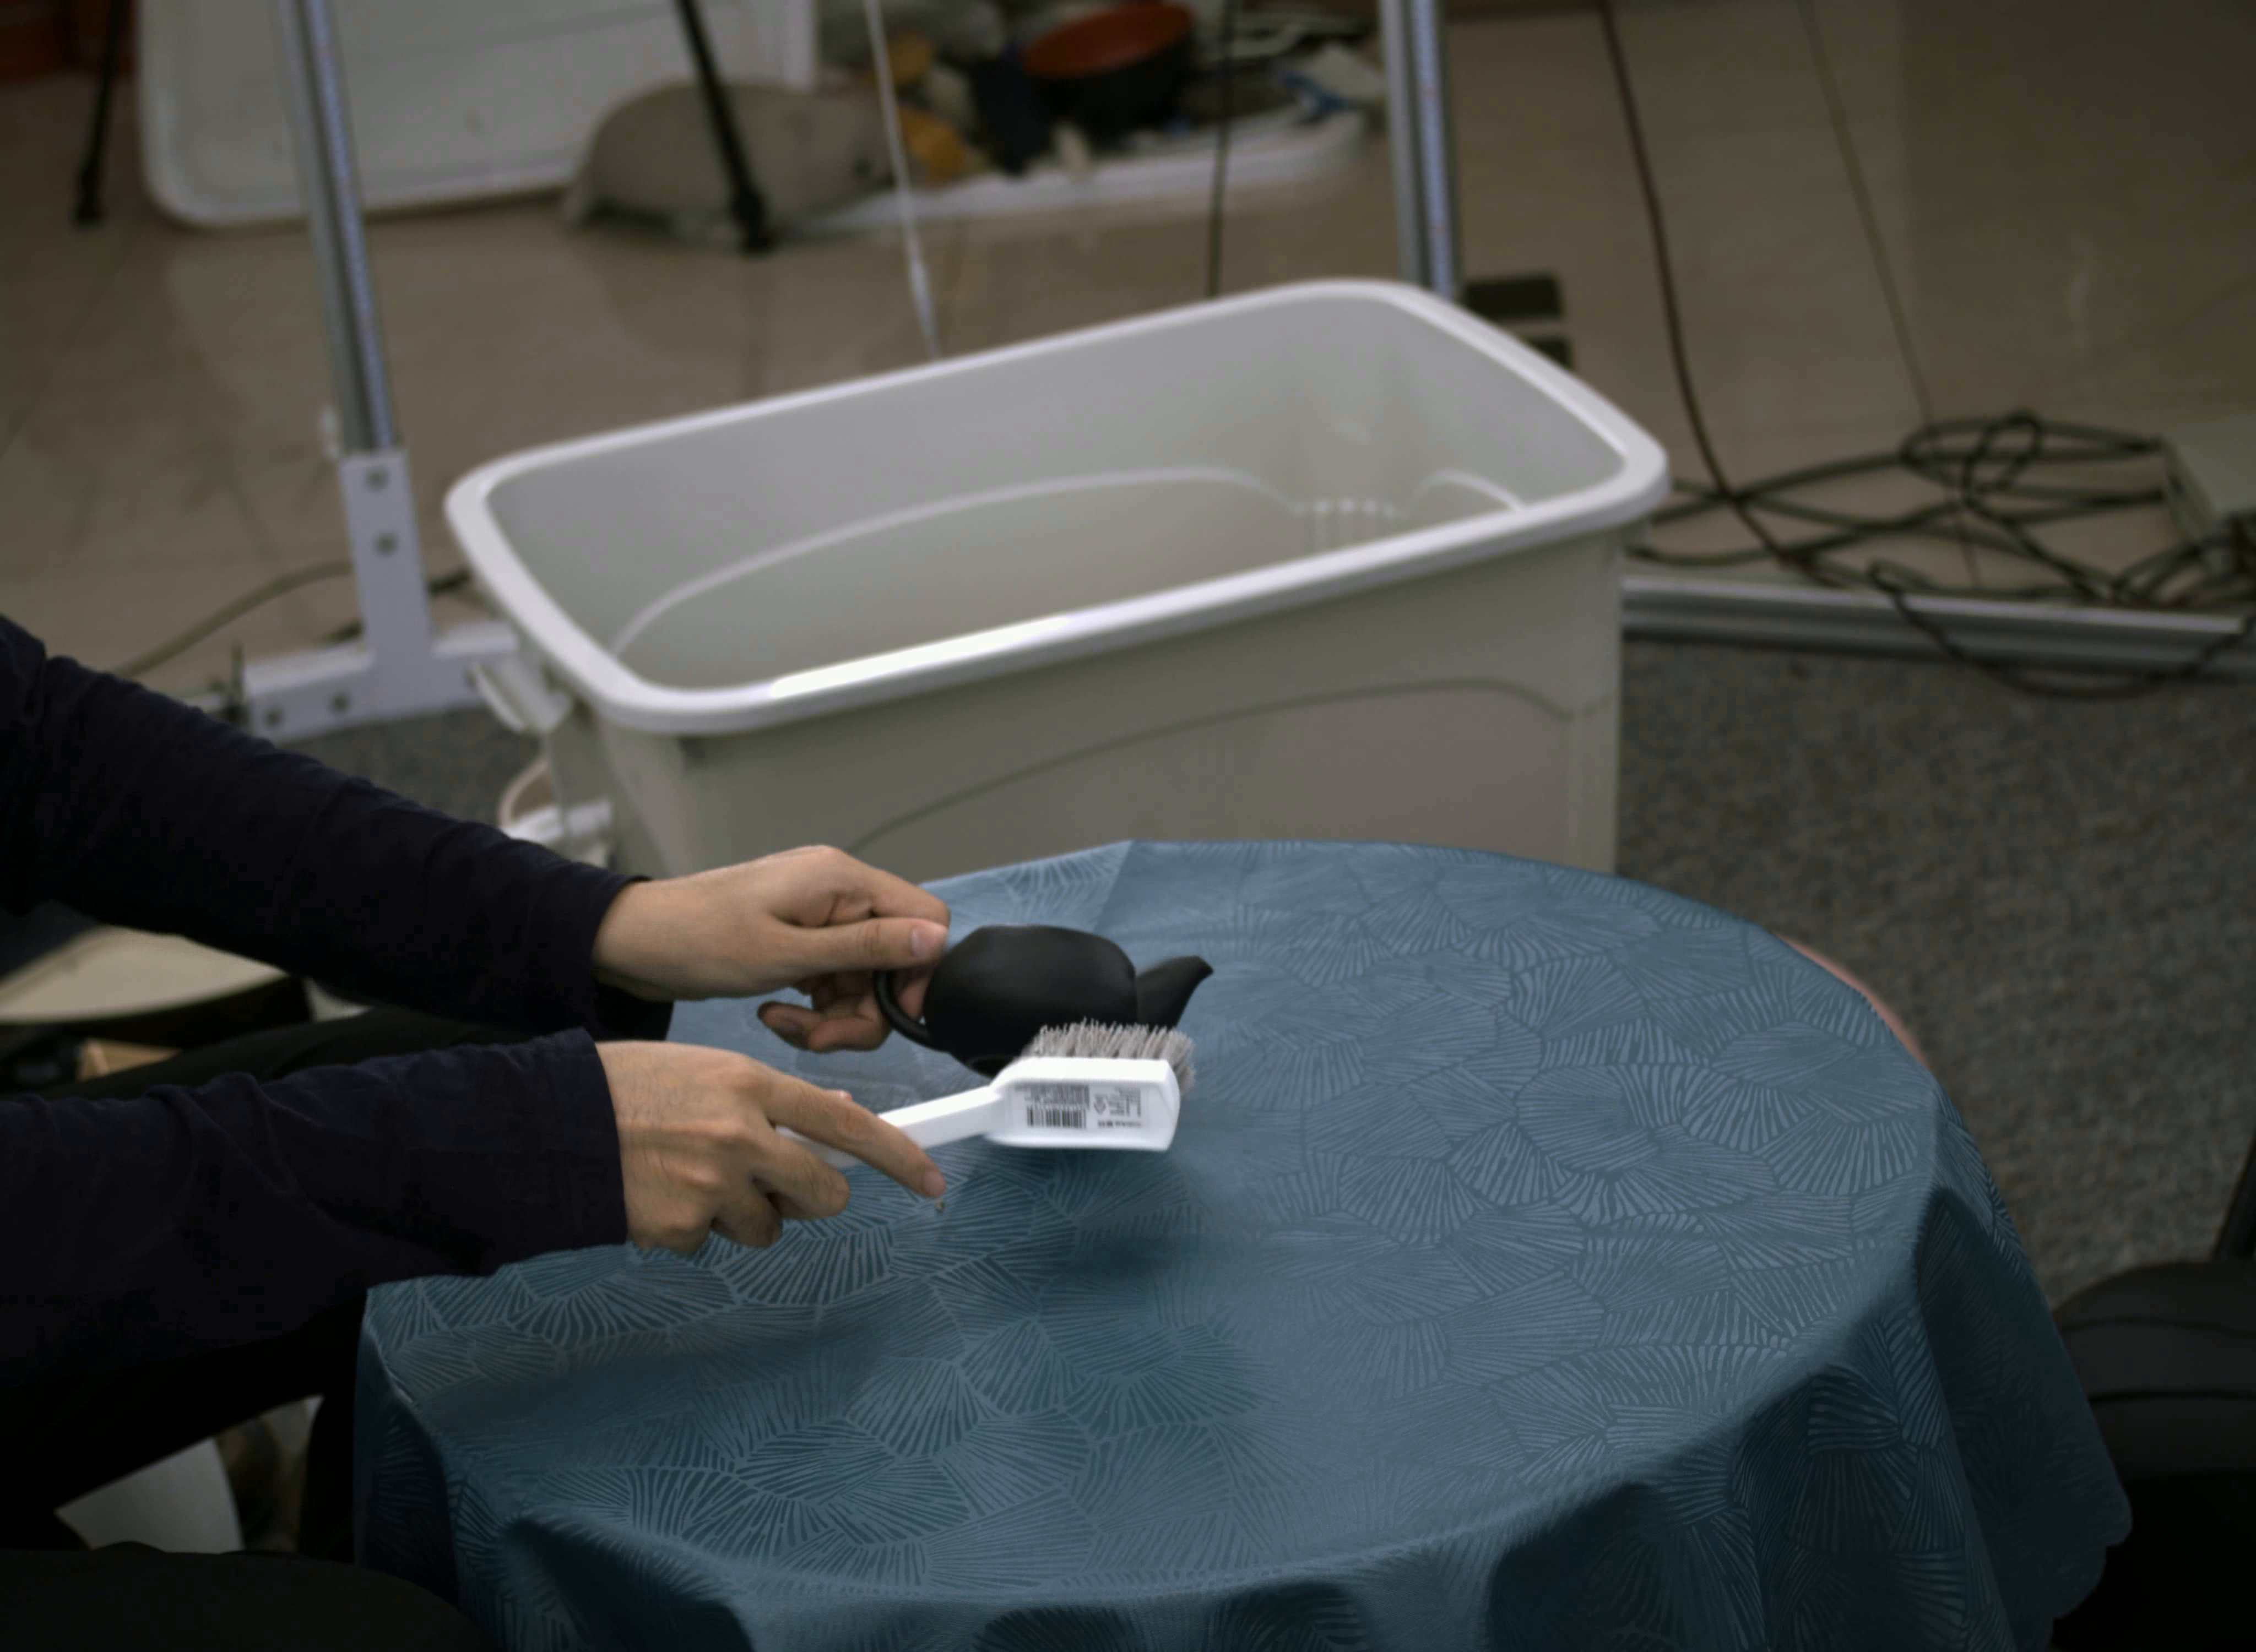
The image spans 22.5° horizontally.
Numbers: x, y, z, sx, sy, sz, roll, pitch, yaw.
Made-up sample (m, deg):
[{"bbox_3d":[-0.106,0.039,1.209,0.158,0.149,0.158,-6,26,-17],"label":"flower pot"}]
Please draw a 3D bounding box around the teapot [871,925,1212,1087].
[{"bbox_3d":[-0.036,0.071,2.198,0.133,0.052,0.092,6,-16,10],"label":"teapot"}]

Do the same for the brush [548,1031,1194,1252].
[{"bbox_3d":[-0.094,0.114,2.082,0.243,0.035,0.049,-10,31,-5],"label":"brush"}]
